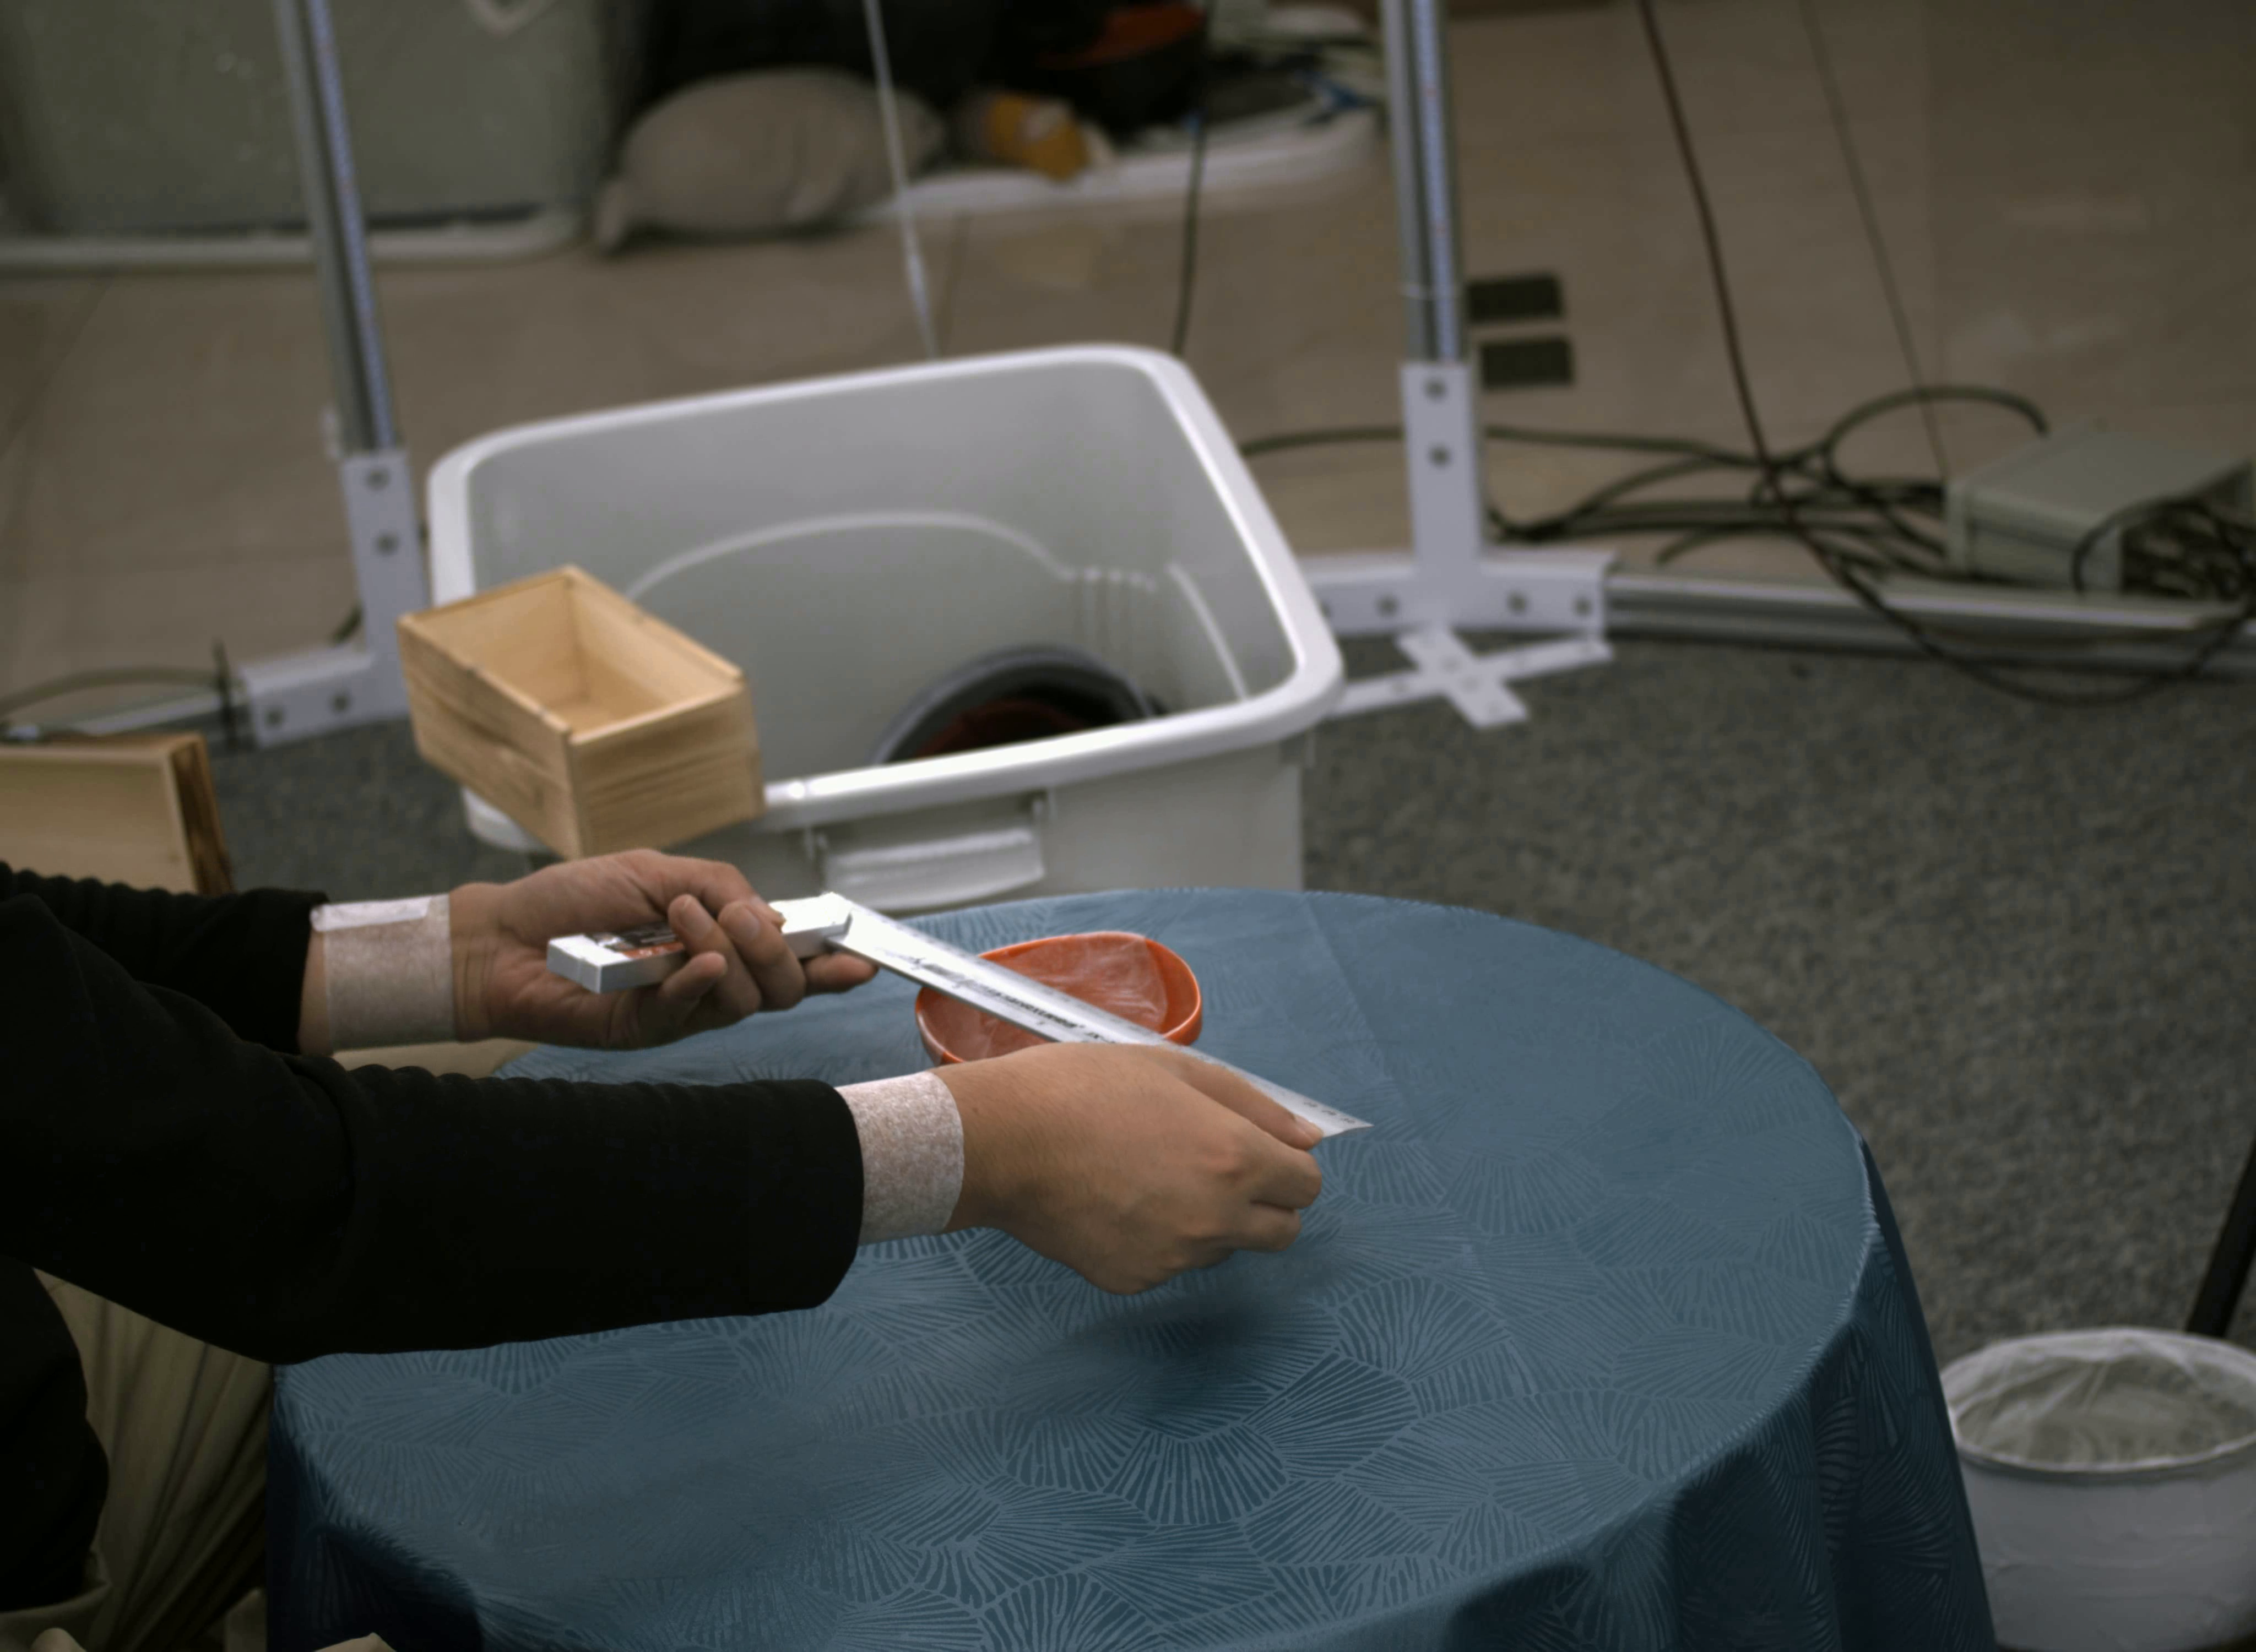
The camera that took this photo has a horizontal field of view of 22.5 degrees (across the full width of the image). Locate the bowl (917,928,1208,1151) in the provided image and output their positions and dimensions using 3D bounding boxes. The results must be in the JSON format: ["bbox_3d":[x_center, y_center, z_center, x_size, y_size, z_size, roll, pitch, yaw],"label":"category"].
[{"bbox_3d":[-0.025,0.087,2.199,0.119,0.052,0.117,-2,26,1],"label":"bowl"}]

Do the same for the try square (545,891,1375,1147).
[{"bbox_3d":[-0.068,0.081,2.132,0.151,0.016,0.310,-12,23,-40],"label":"try square"}]
